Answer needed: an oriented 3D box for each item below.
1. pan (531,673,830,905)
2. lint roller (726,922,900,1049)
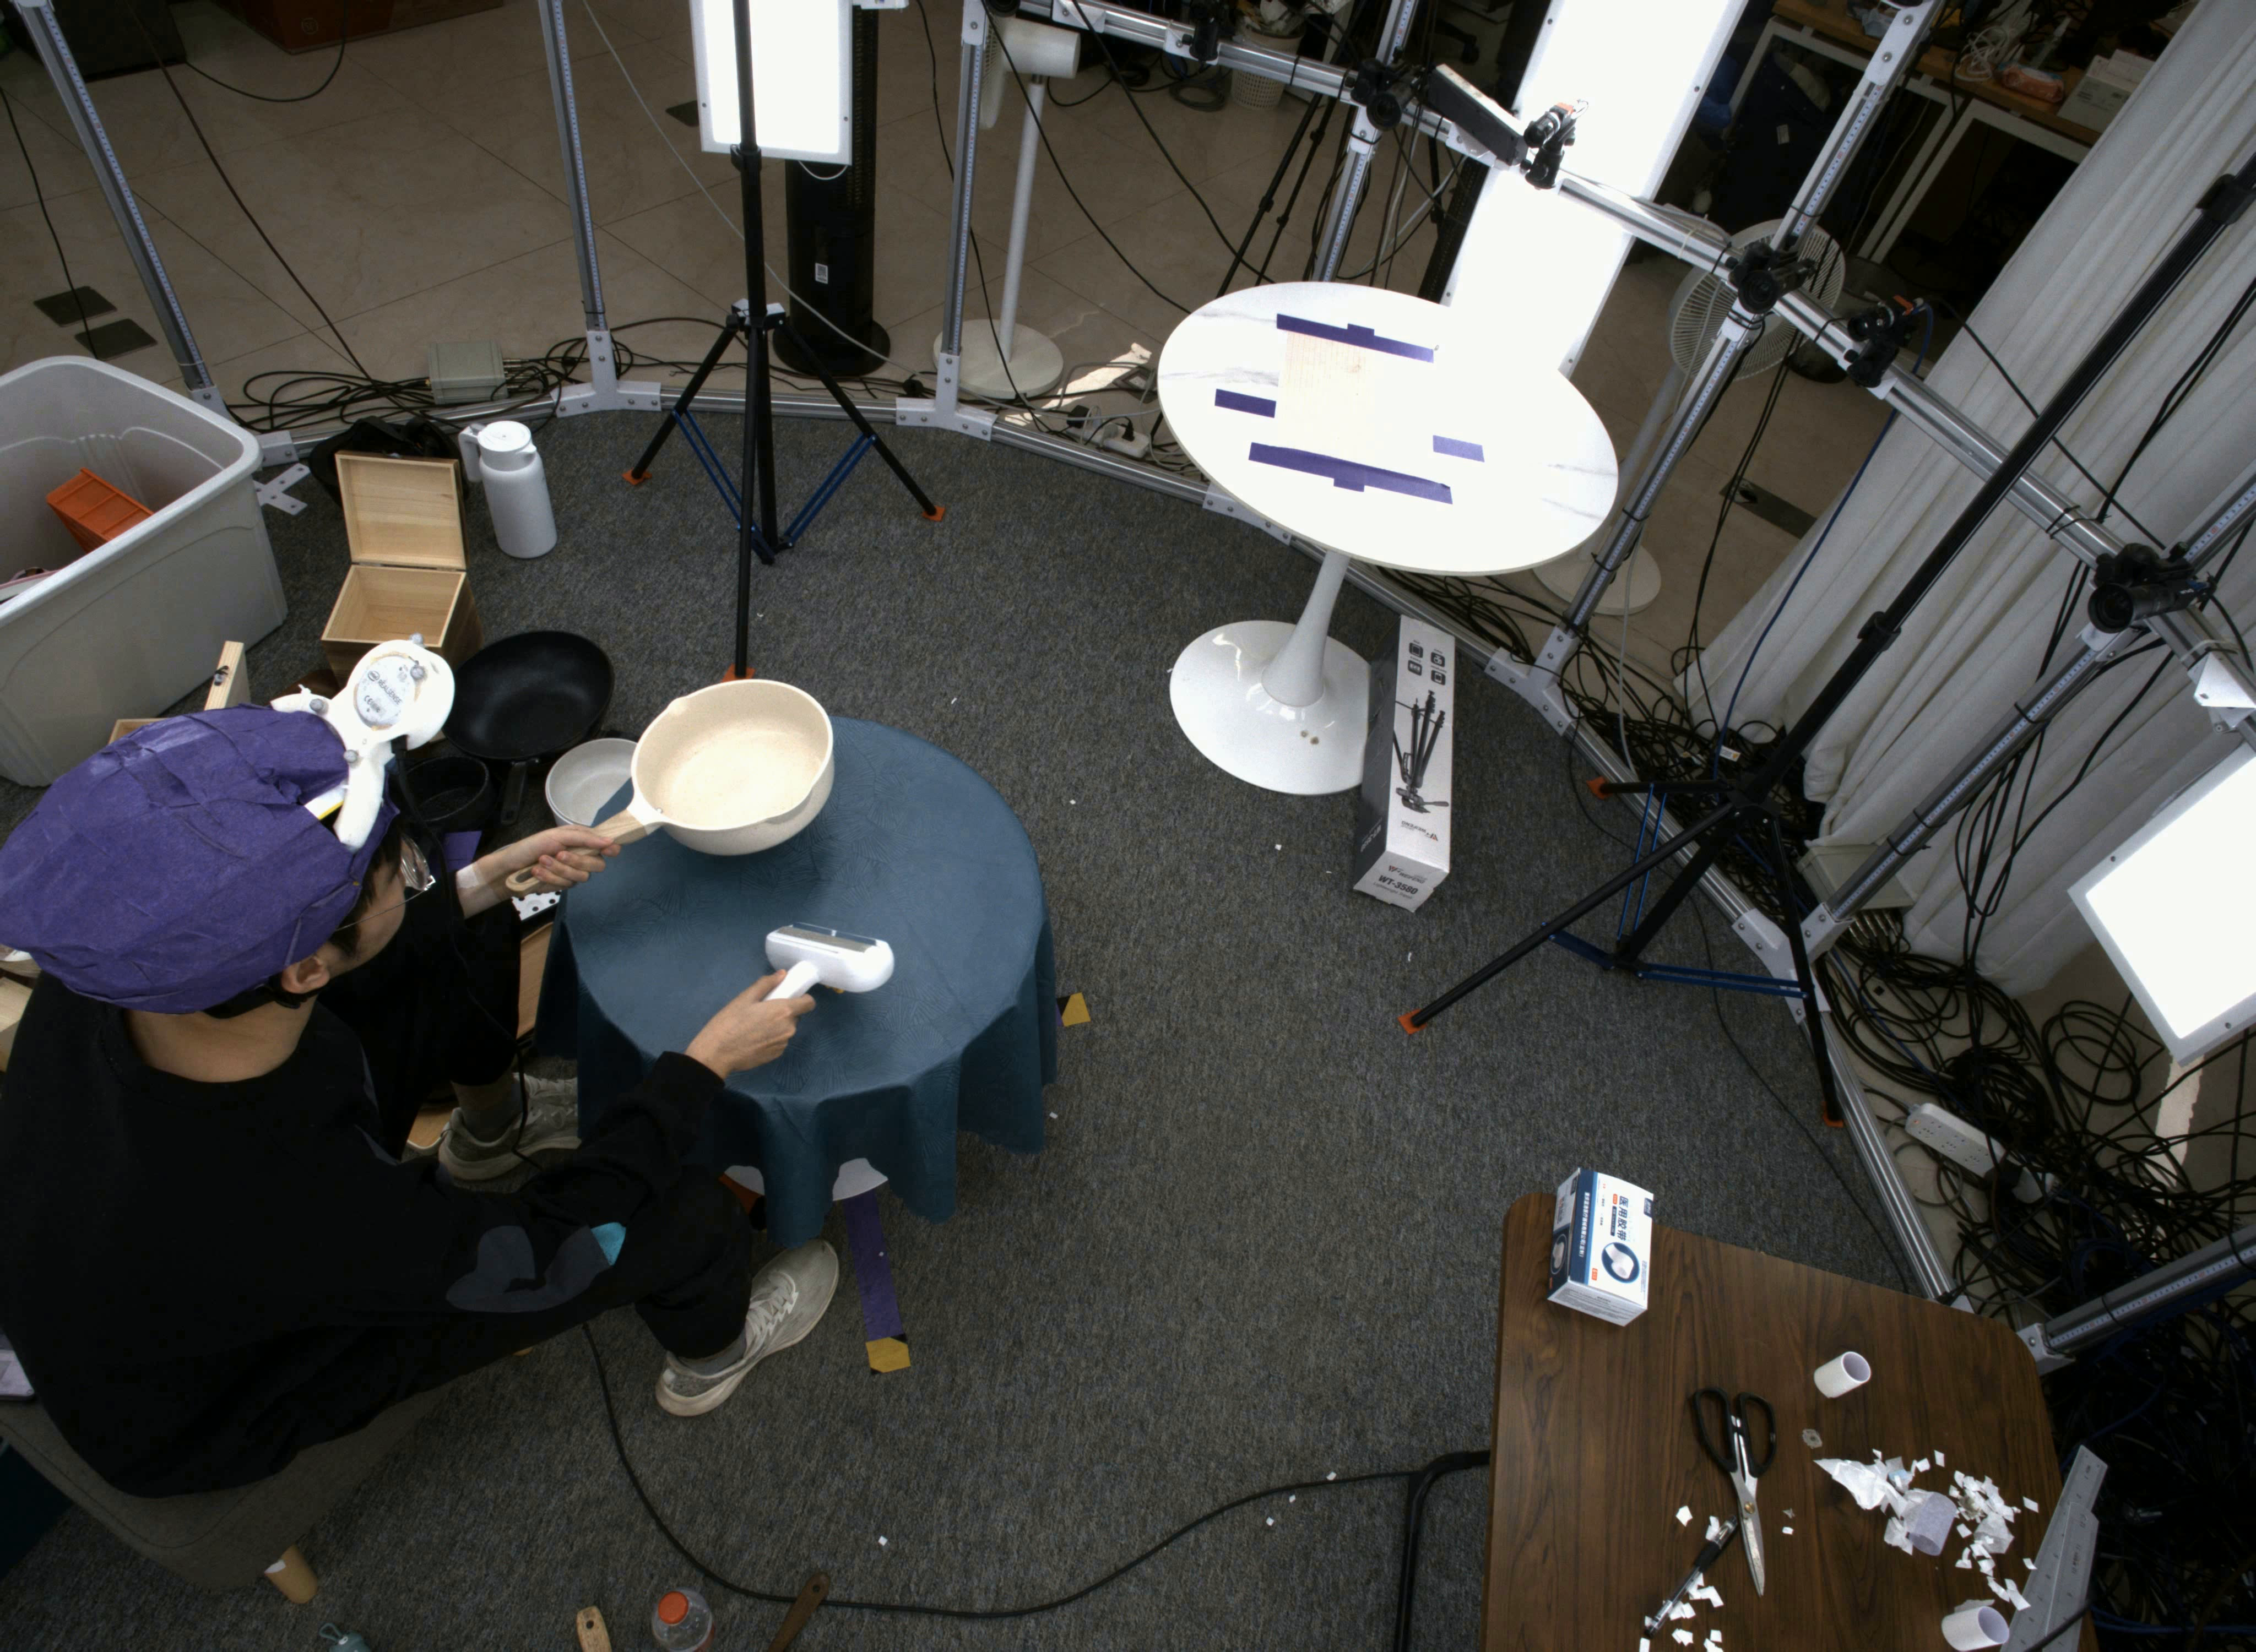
[{"bbox_3d":[-0.559,-0.024,1.590,0.256,0.105,0.435,37,61,23],"label":"pan"},{"bbox_3d":[-0.386,0.184,1.505,0.185,0.076,0.193,15,34,38],"label":"lint roller"}]
